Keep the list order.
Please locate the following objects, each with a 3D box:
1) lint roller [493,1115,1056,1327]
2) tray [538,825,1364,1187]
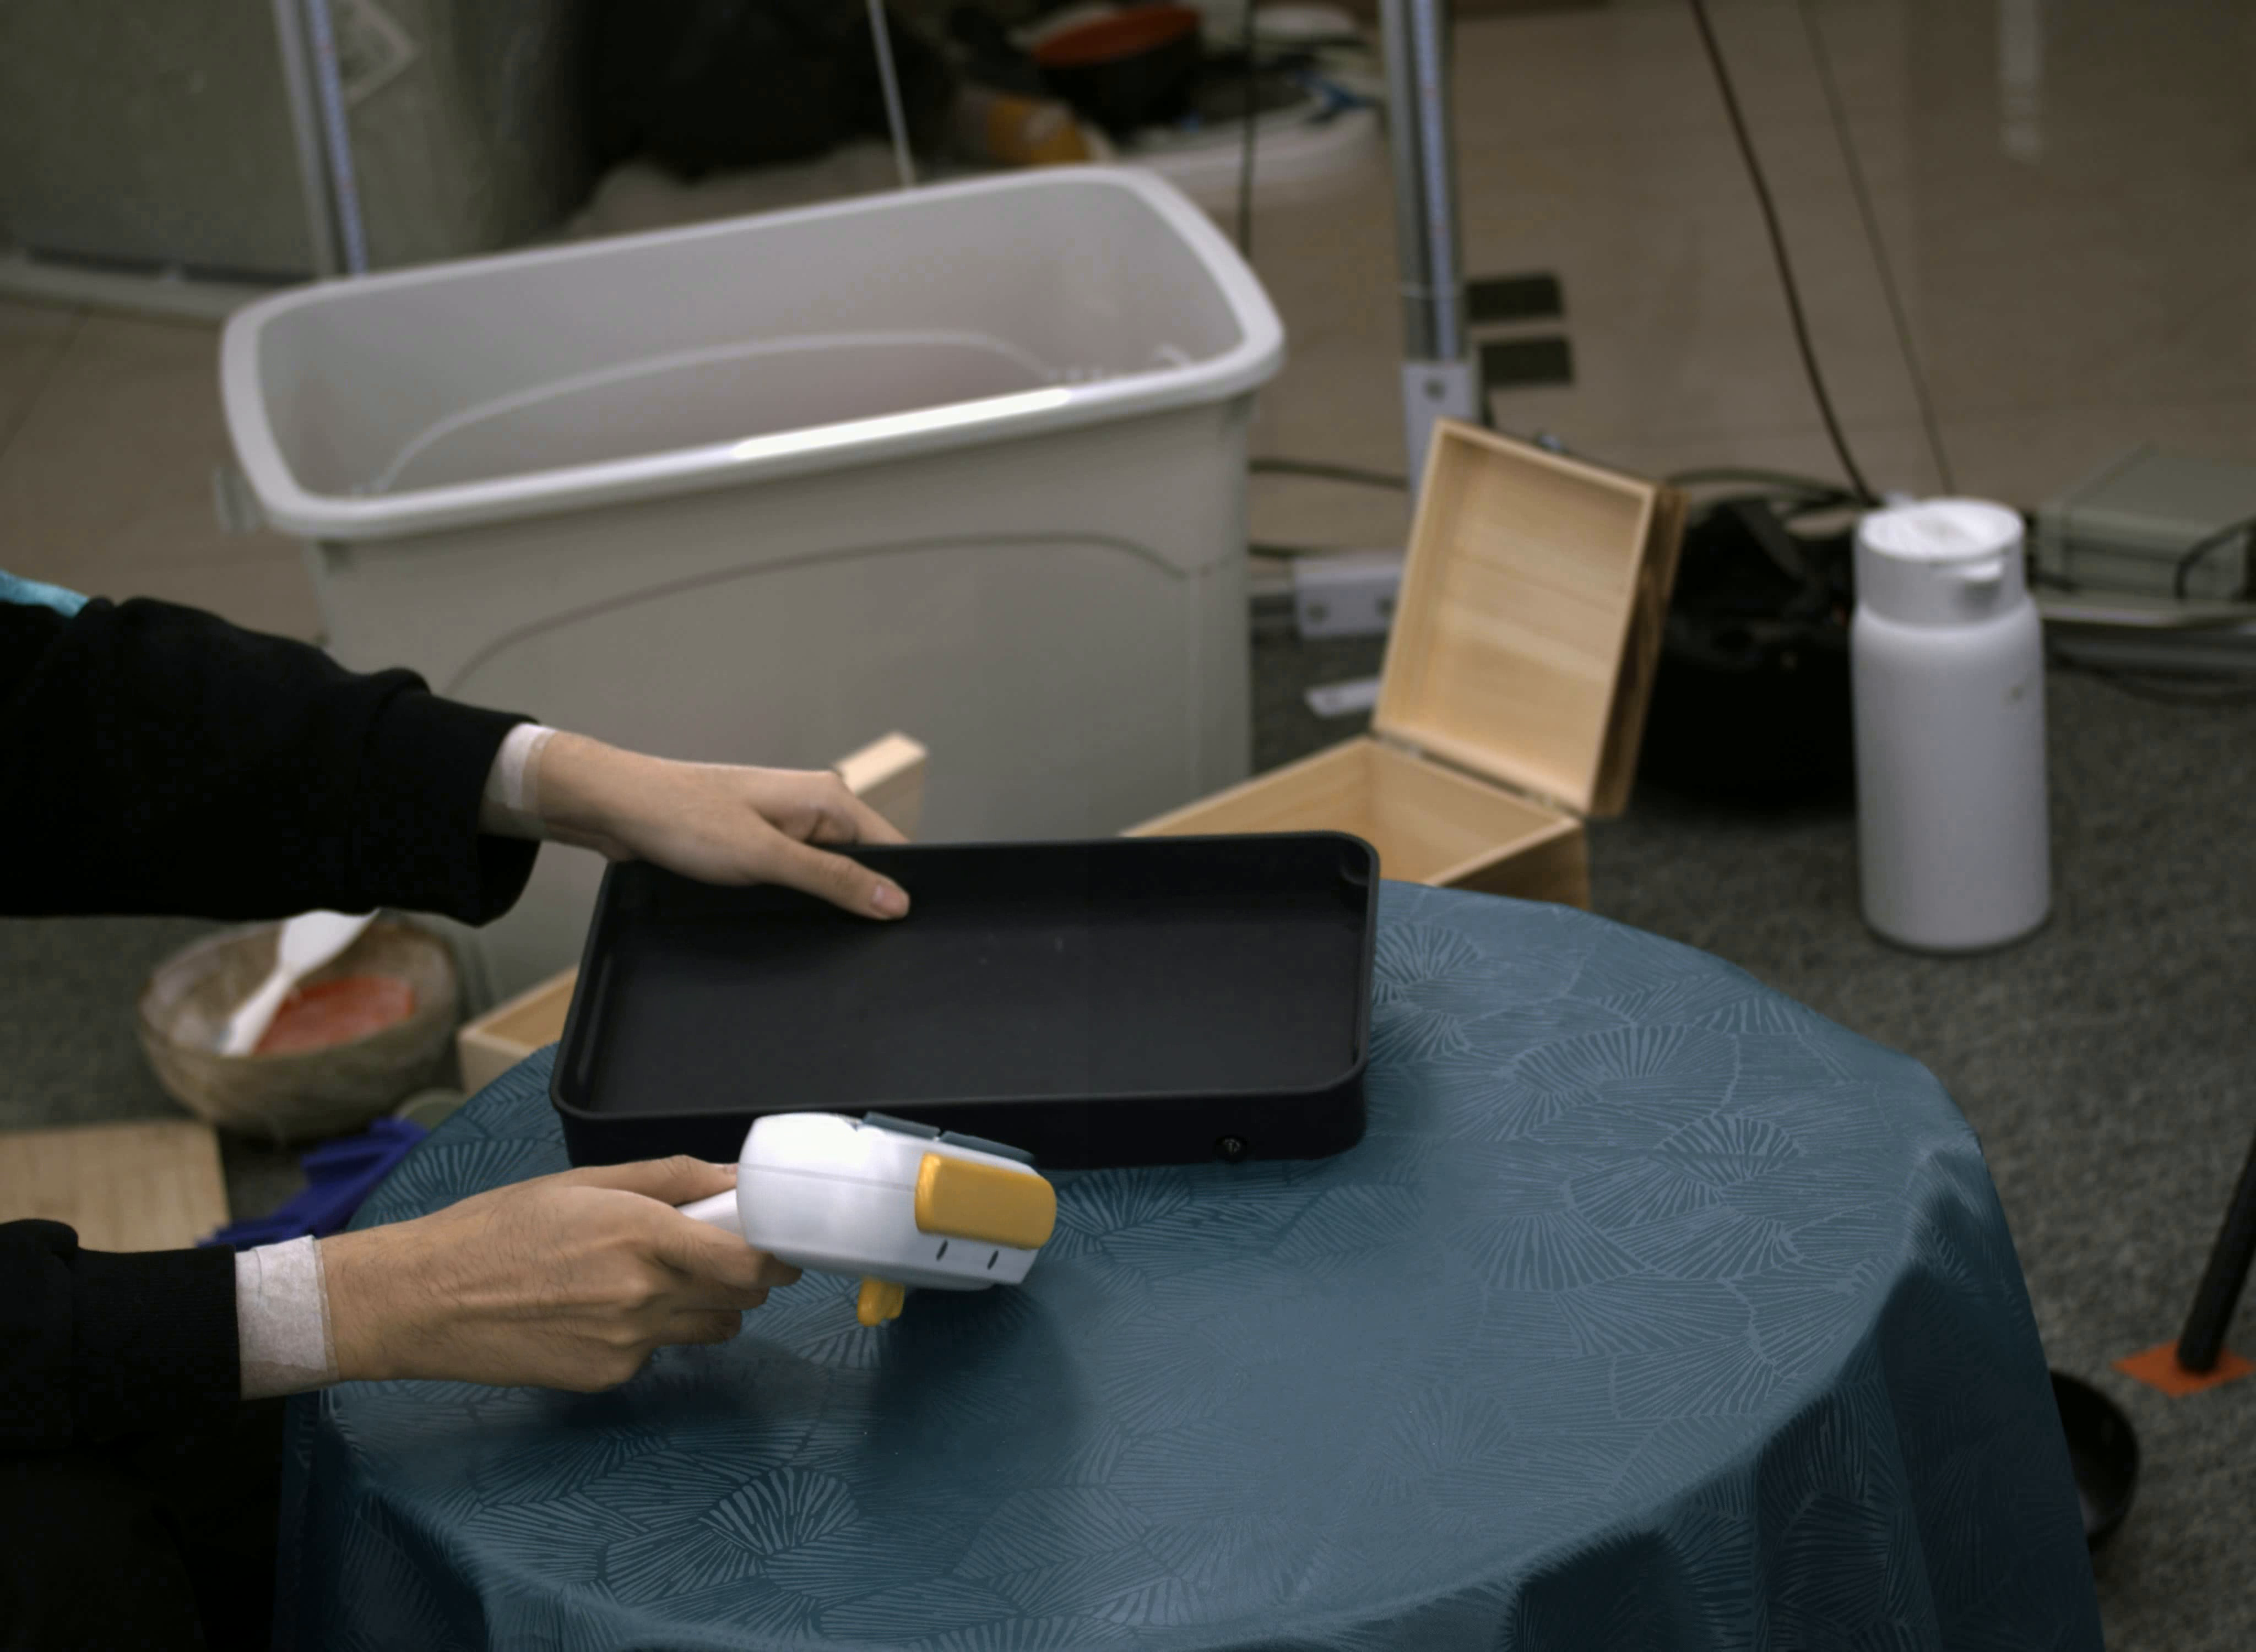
[{"bbox_3d":[-0.139,0.144,2.029,0.192,0.074,0.193,-4,-5,21],"label":"lint roller"},{"bbox_3d":[-0.065,0.069,2.233,0.317,0.038,0.181,-2,34,4],"label":"tray"}]
